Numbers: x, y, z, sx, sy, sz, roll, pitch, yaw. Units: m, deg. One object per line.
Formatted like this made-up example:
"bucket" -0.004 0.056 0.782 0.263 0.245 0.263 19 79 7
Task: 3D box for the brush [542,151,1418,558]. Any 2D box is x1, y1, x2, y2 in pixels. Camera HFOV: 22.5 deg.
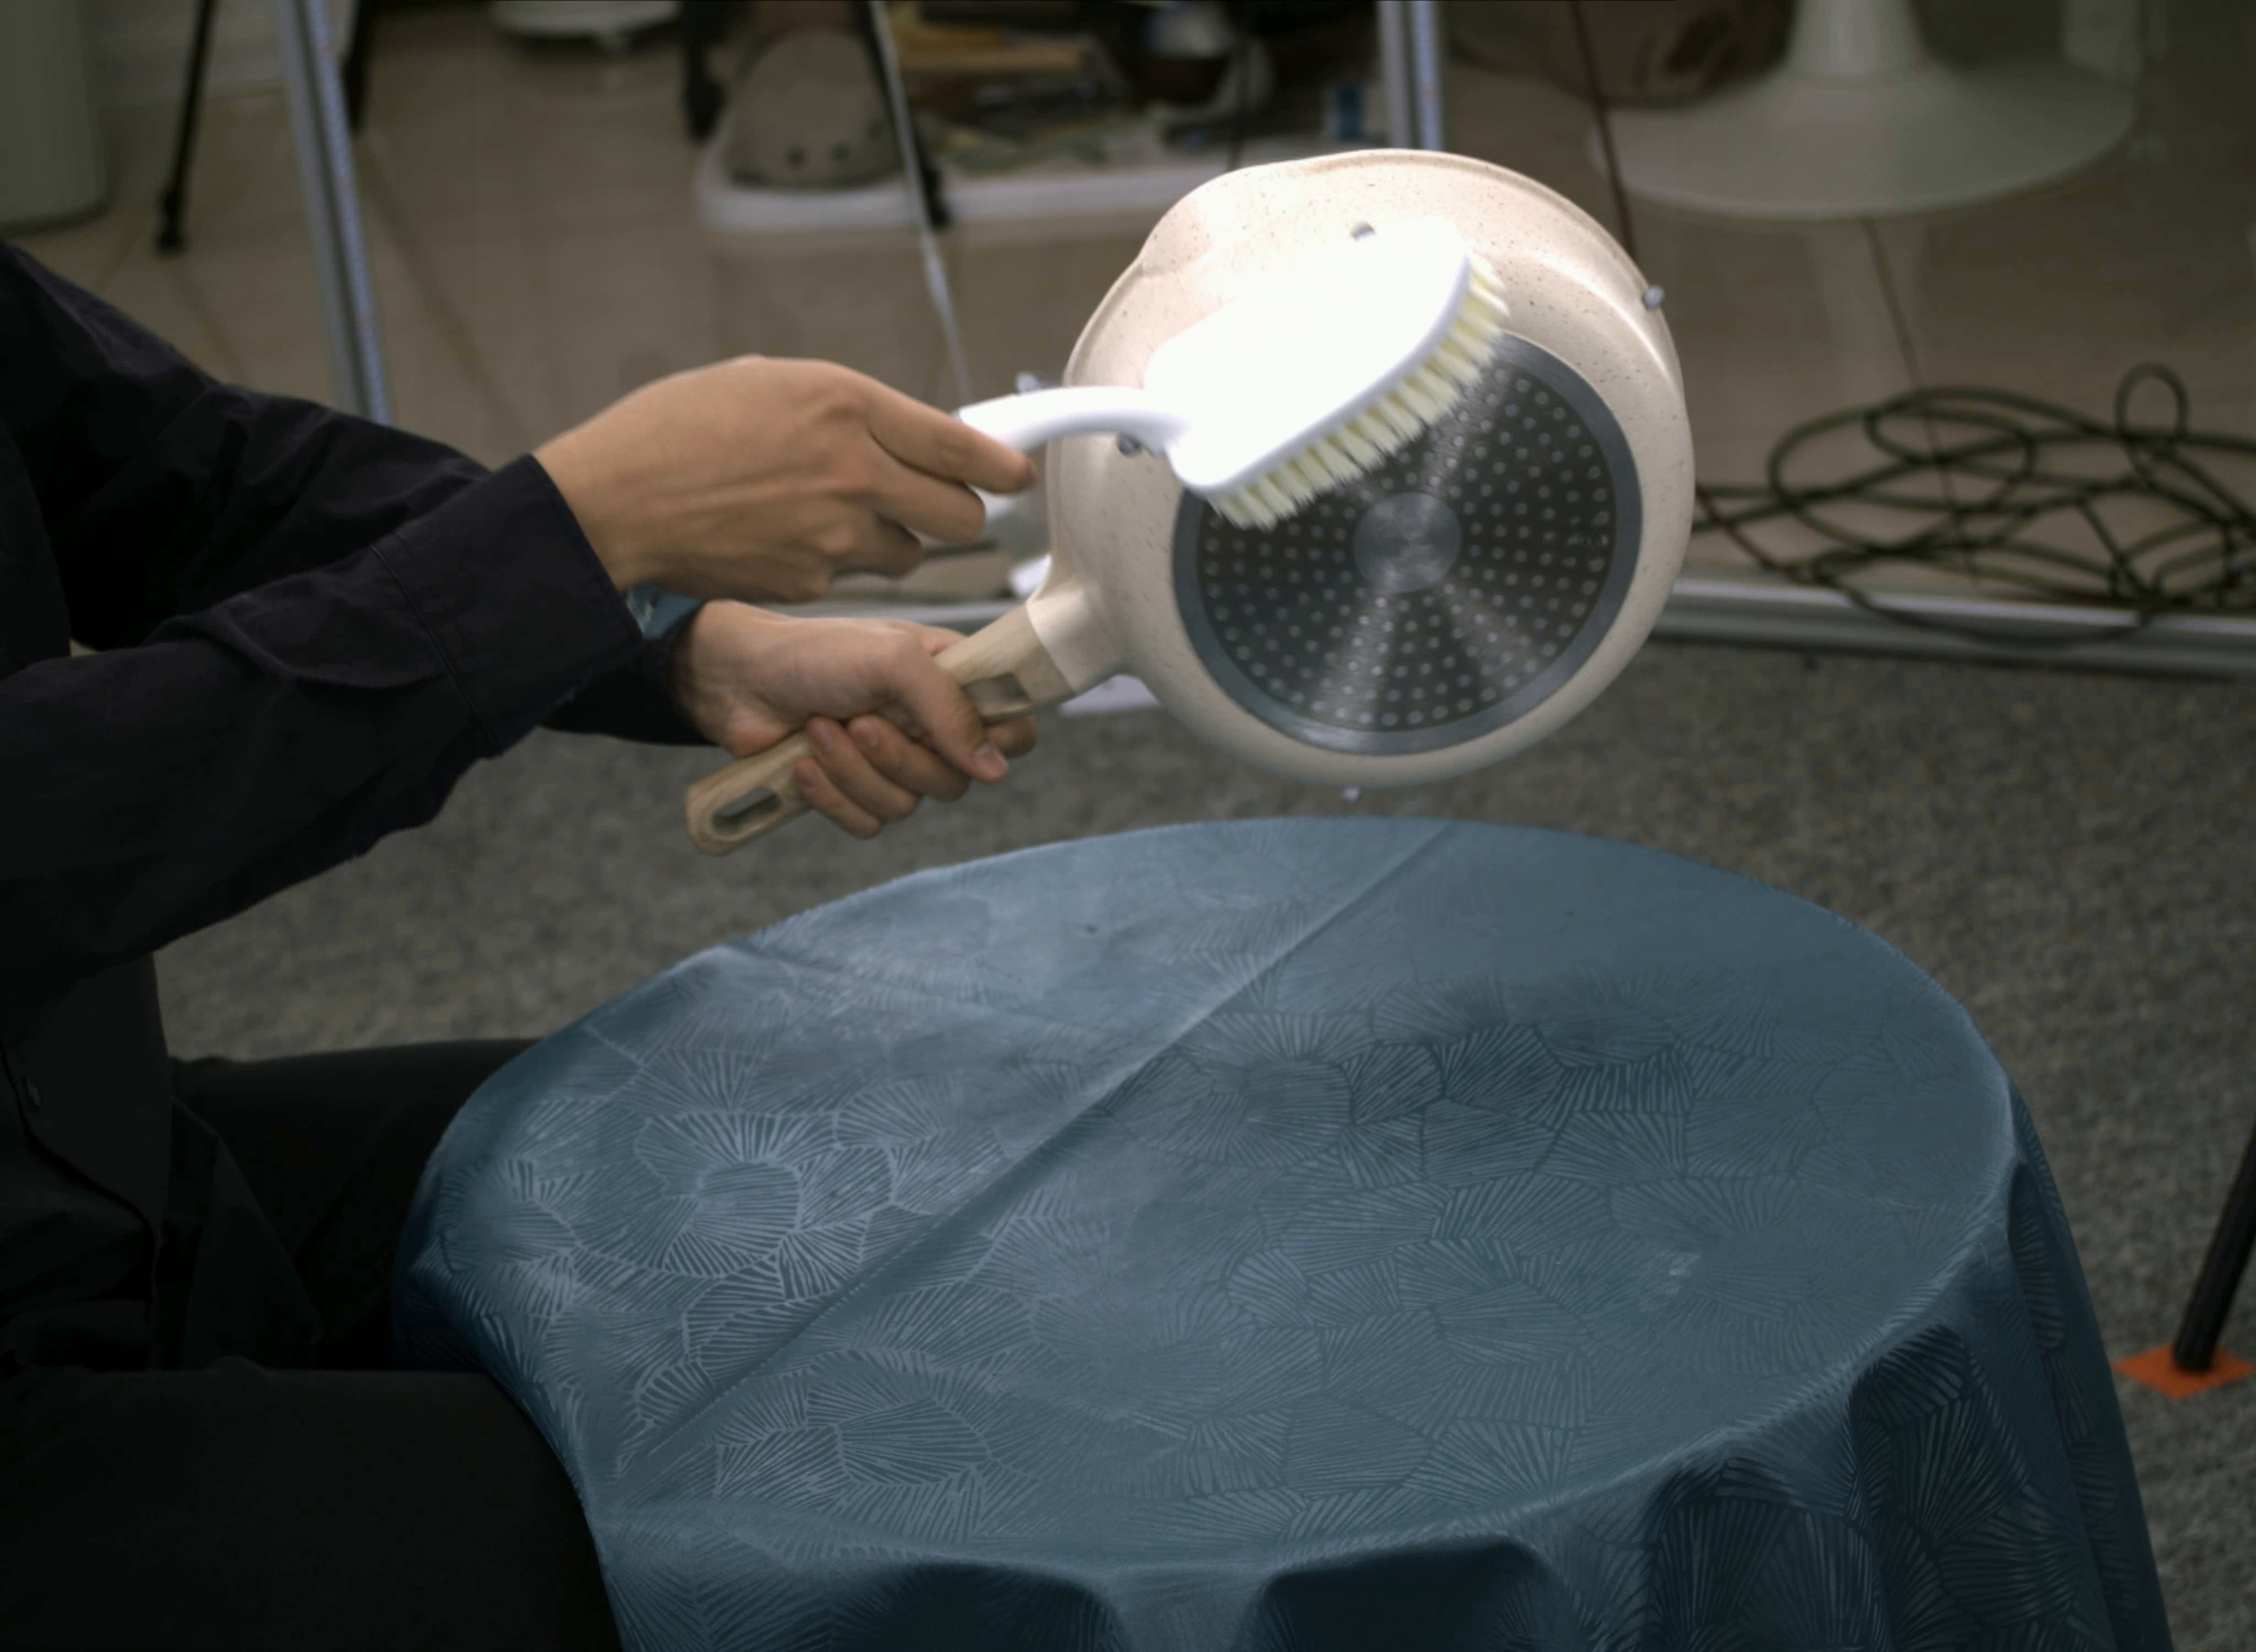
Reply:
"brush" -0.049 -0.151 1.994 0.325 0.085 0.082 -23 17 5

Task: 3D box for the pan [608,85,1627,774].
"pan" -0.007 -0.112 2.188 0.435 0.267 0.100 -29 31 8
